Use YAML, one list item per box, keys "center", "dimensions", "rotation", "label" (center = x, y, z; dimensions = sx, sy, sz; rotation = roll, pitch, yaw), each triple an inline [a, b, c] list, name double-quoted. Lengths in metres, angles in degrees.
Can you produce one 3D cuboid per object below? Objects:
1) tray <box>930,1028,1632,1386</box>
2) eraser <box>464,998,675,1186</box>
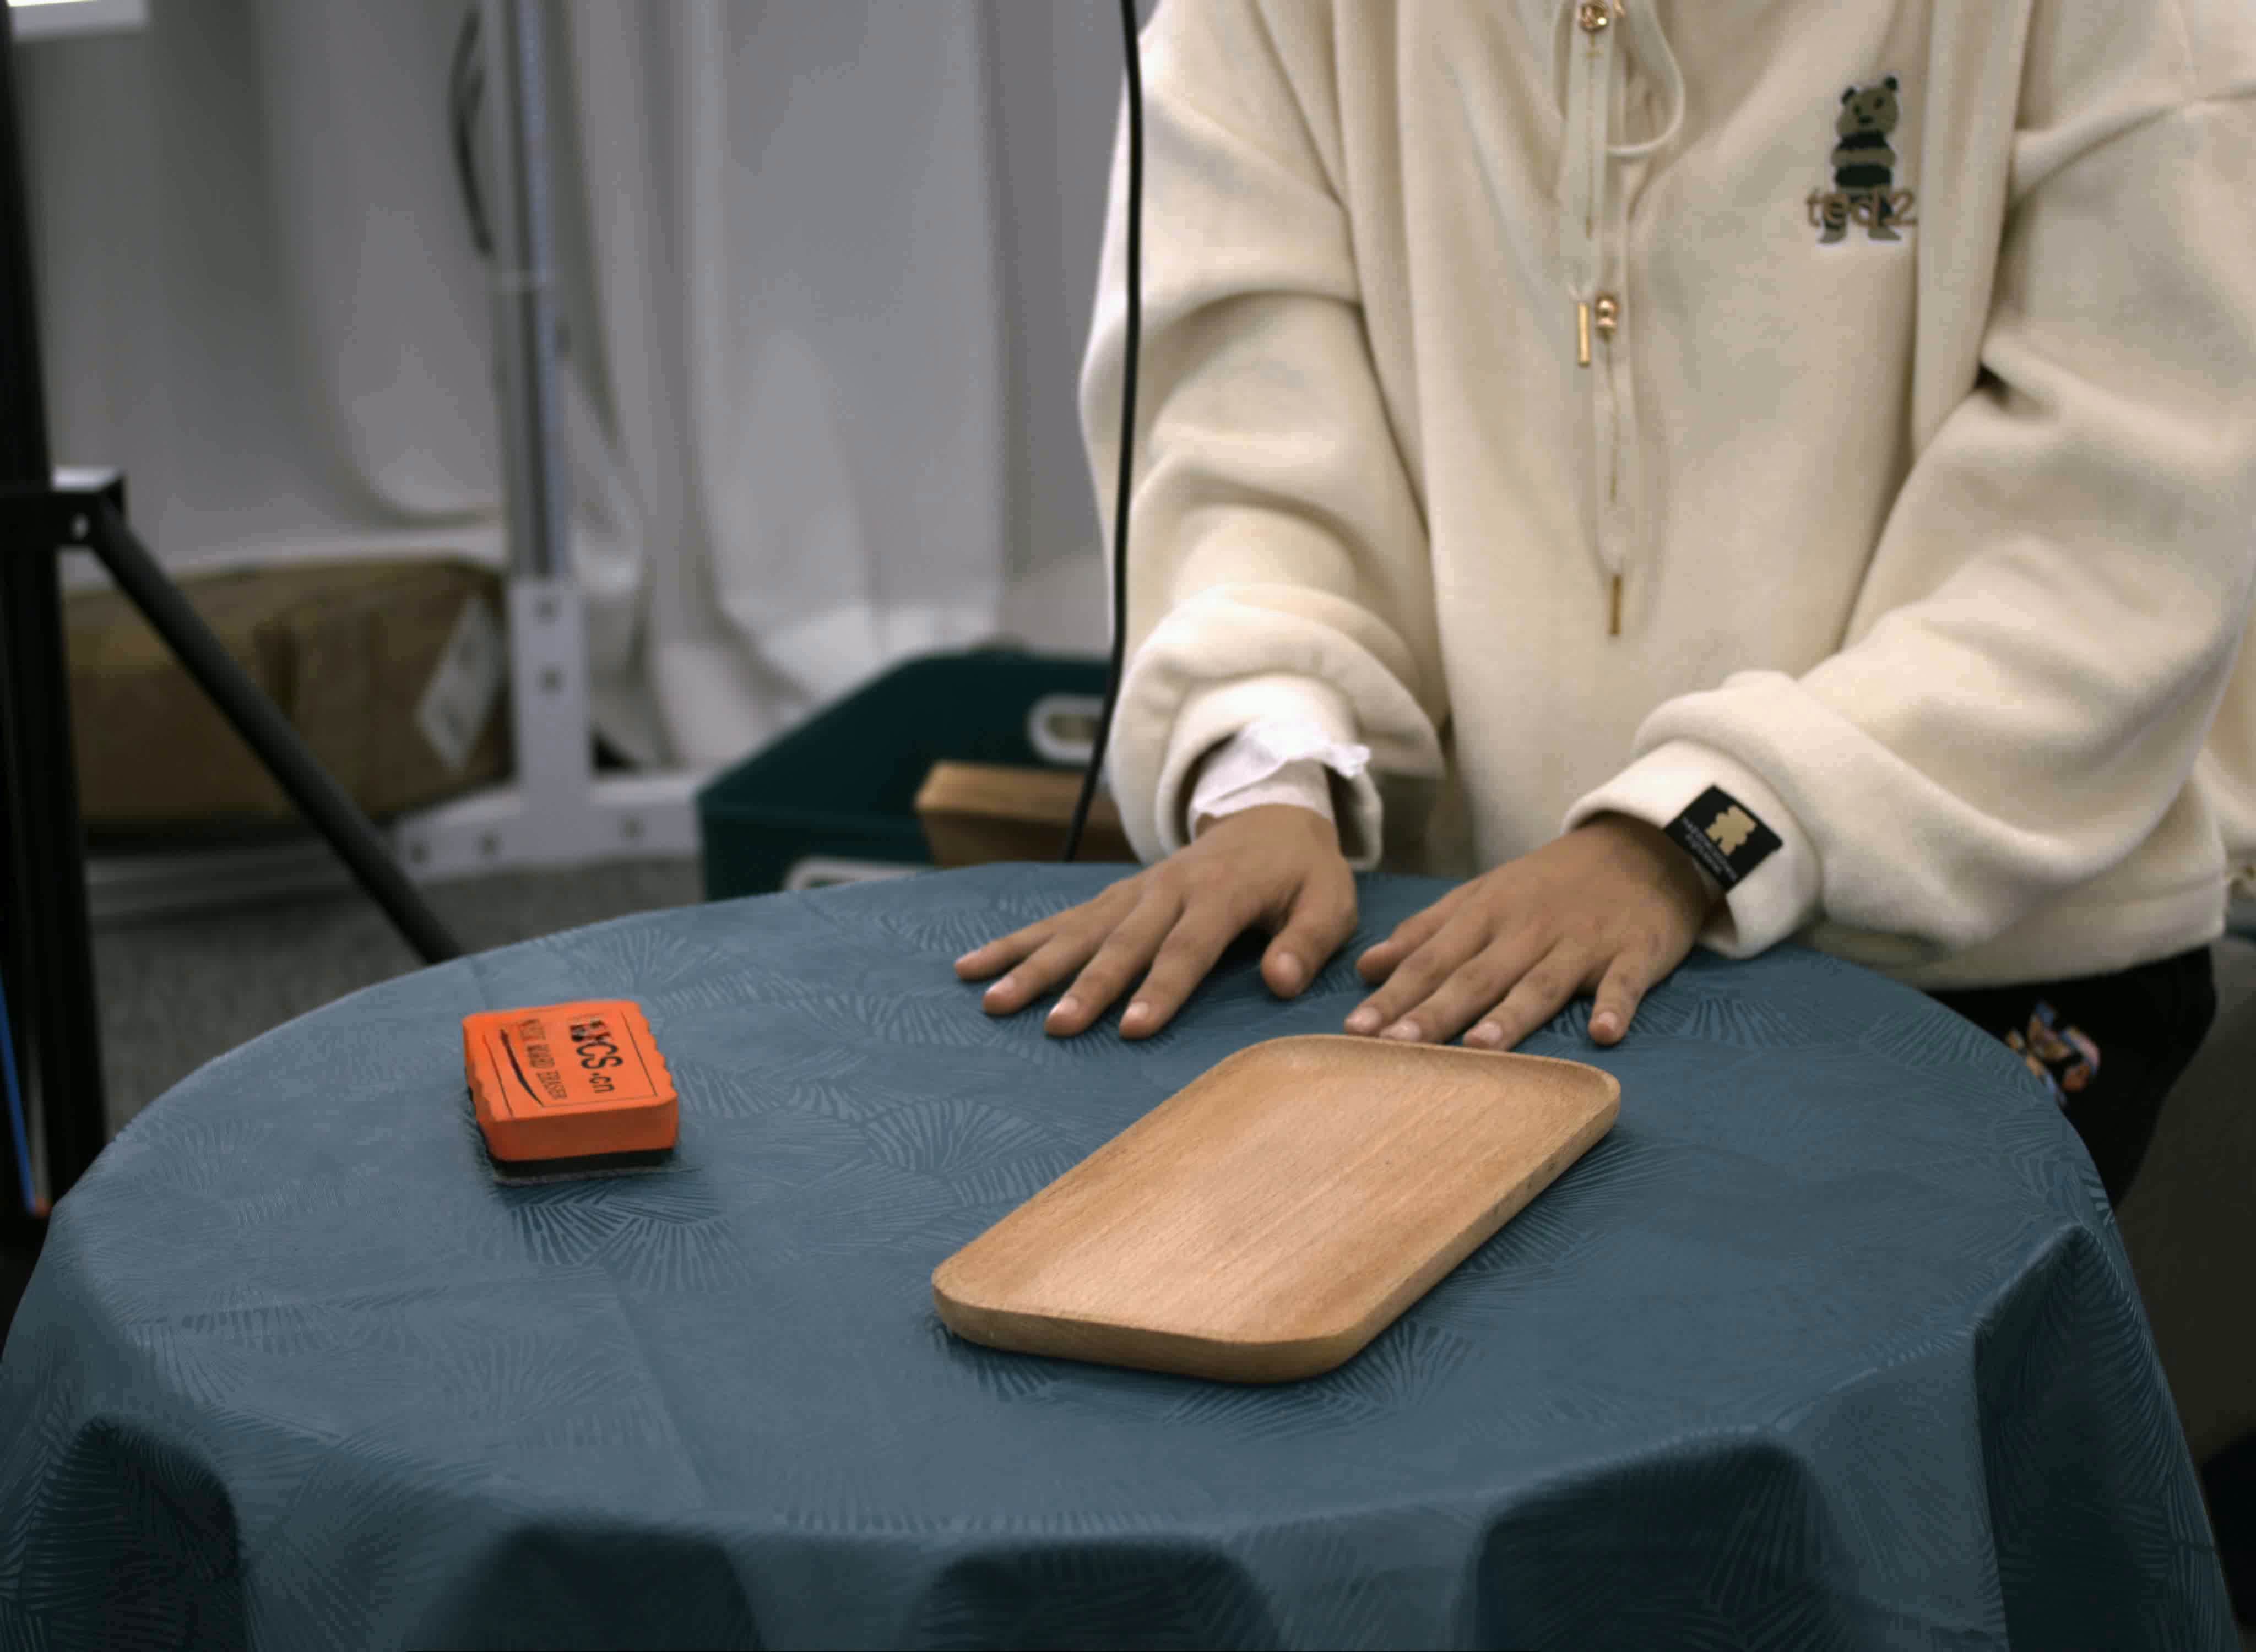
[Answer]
- center: [0.049, 0.106, 1.521]
  dimensions: [0.133, 0.023, 0.246]
  rotation: [8, 19, 26]
  label: "tray"
- center: [-0.172, 0.081, 1.639]
  dimensions: [0.058, 0.023, 0.109]
  rotation: [-6, 17, -9]
  label: "eraser"
